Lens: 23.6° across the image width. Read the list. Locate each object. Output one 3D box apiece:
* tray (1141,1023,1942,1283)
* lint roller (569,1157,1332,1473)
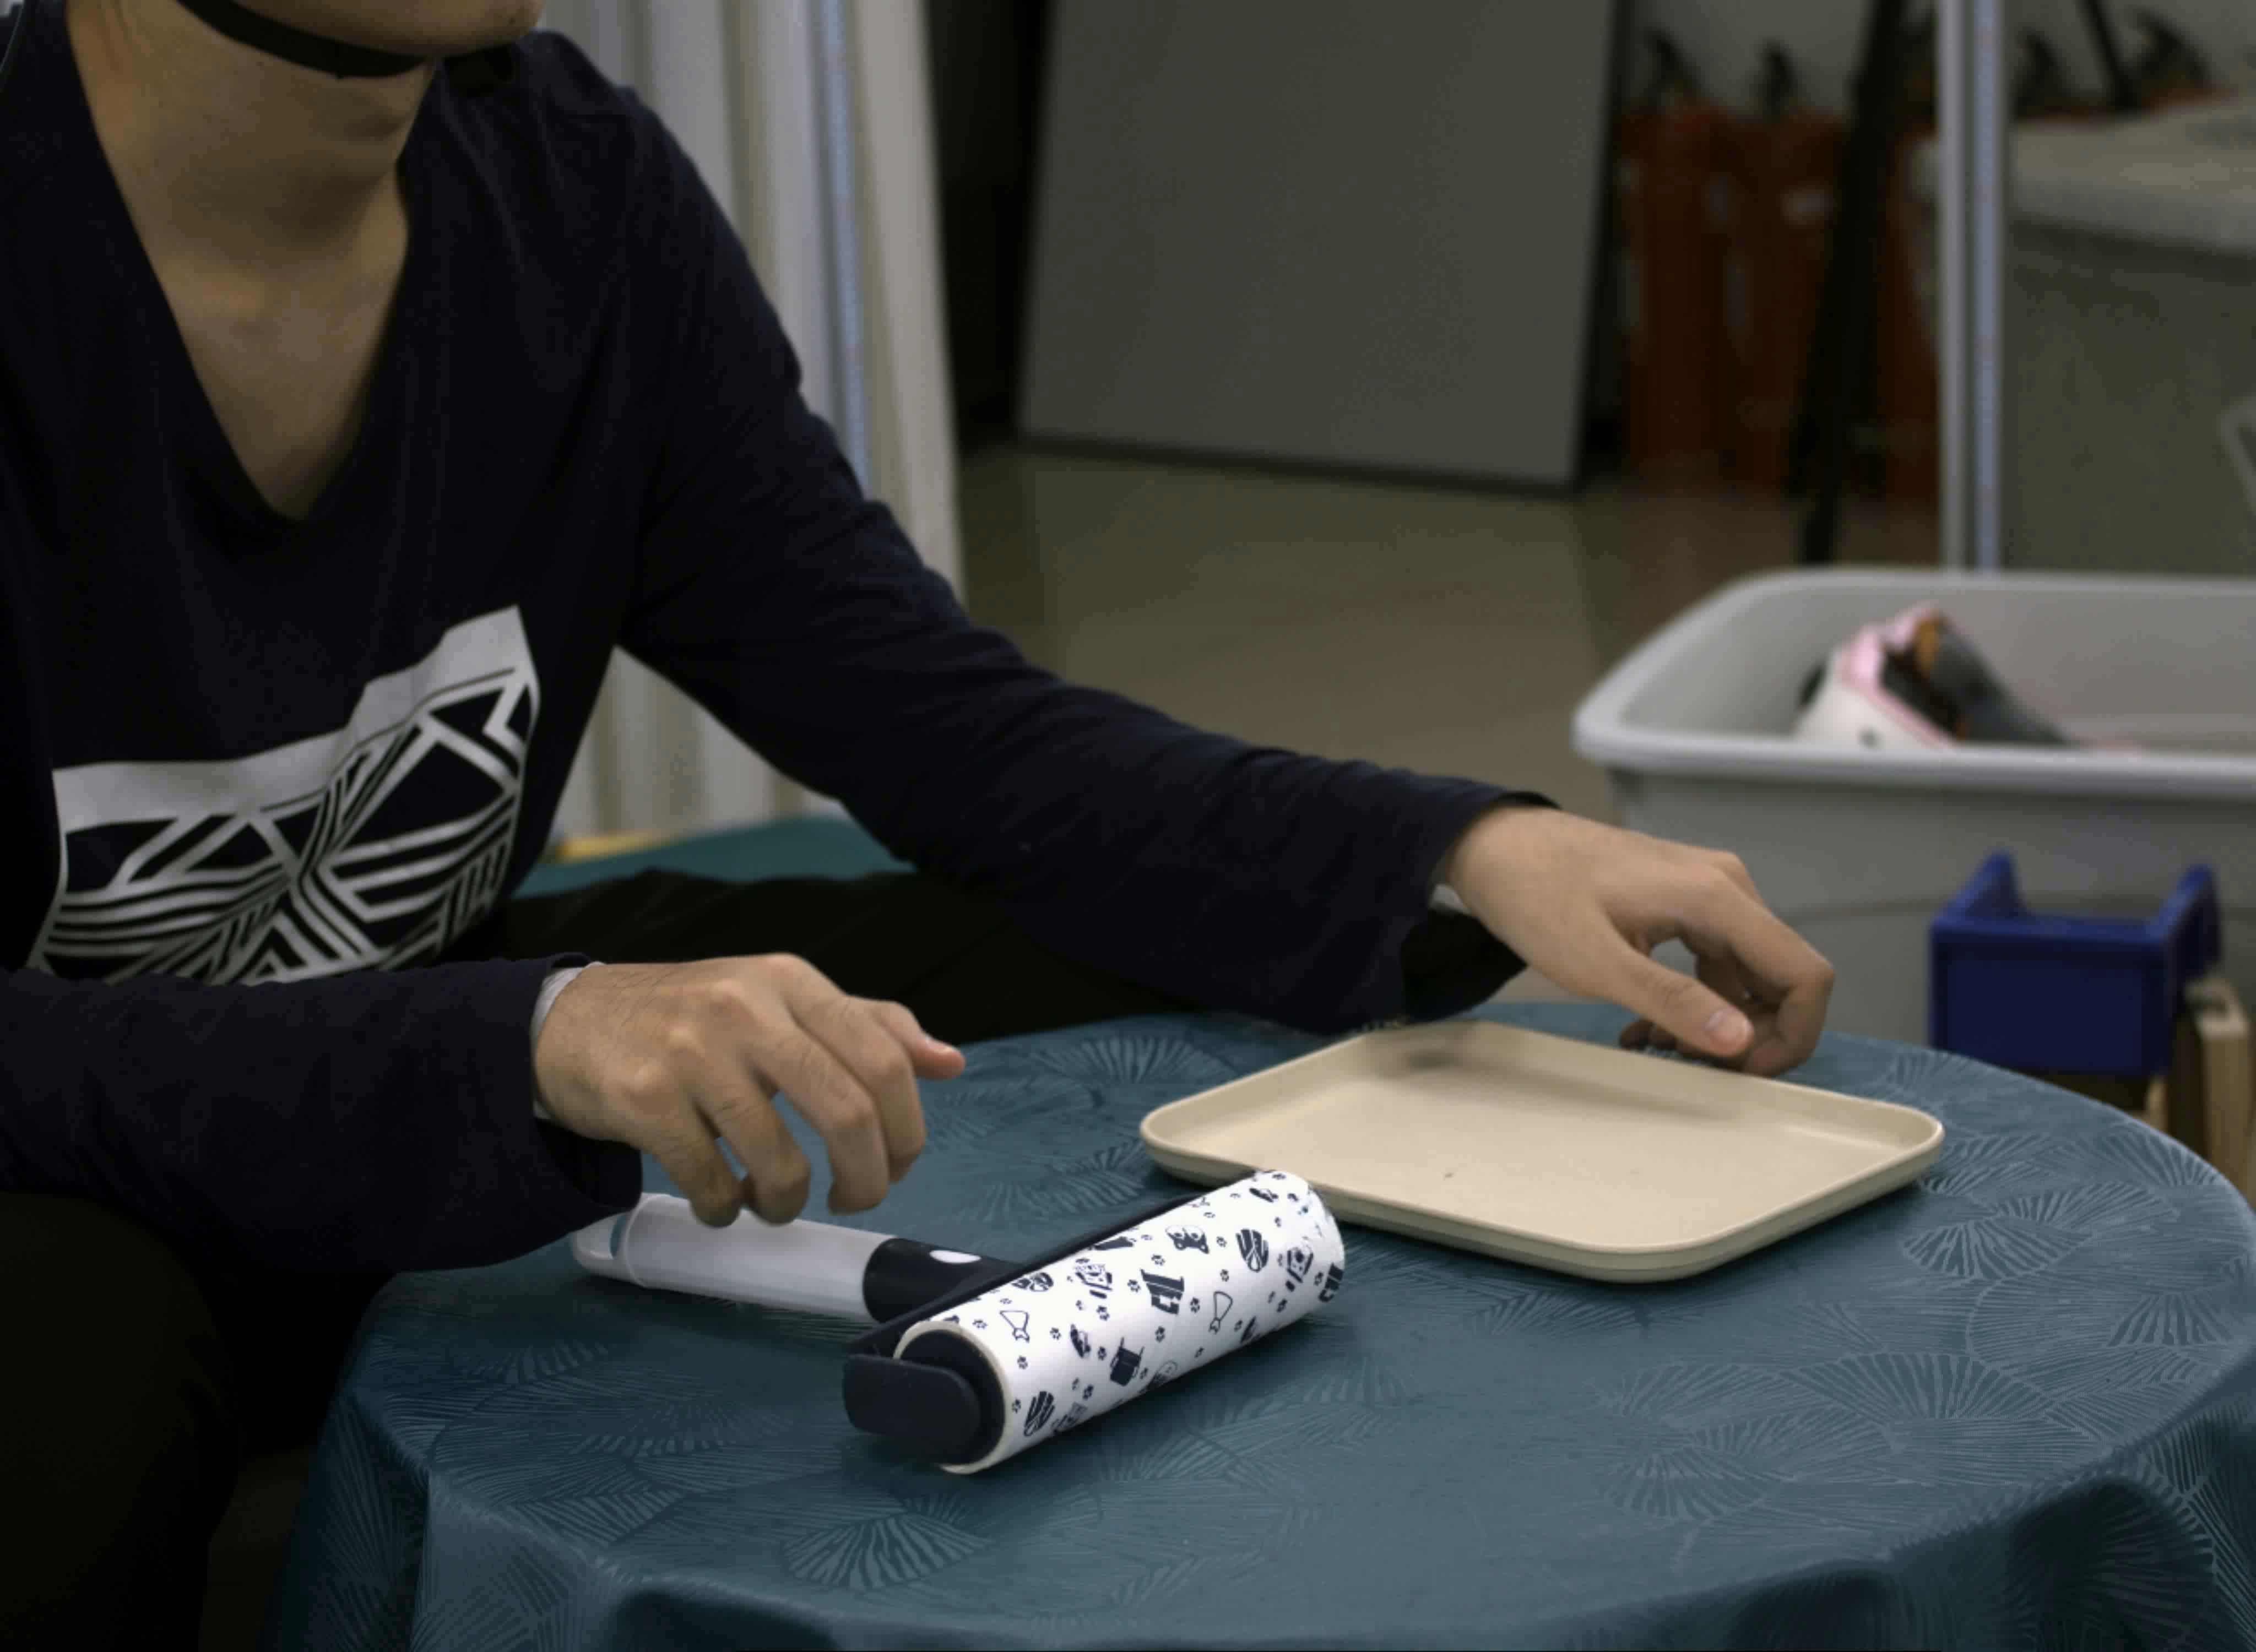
[{"bbox_3d":[0.134,0.106,1.761,0.168,0.017,0.242,-17,18,-41],"label":"tray"},{"bbox_3d":[-0.081,0.138,1.645,0.249,0.051,0.173,4,16,39],"label":"lint roller"}]
